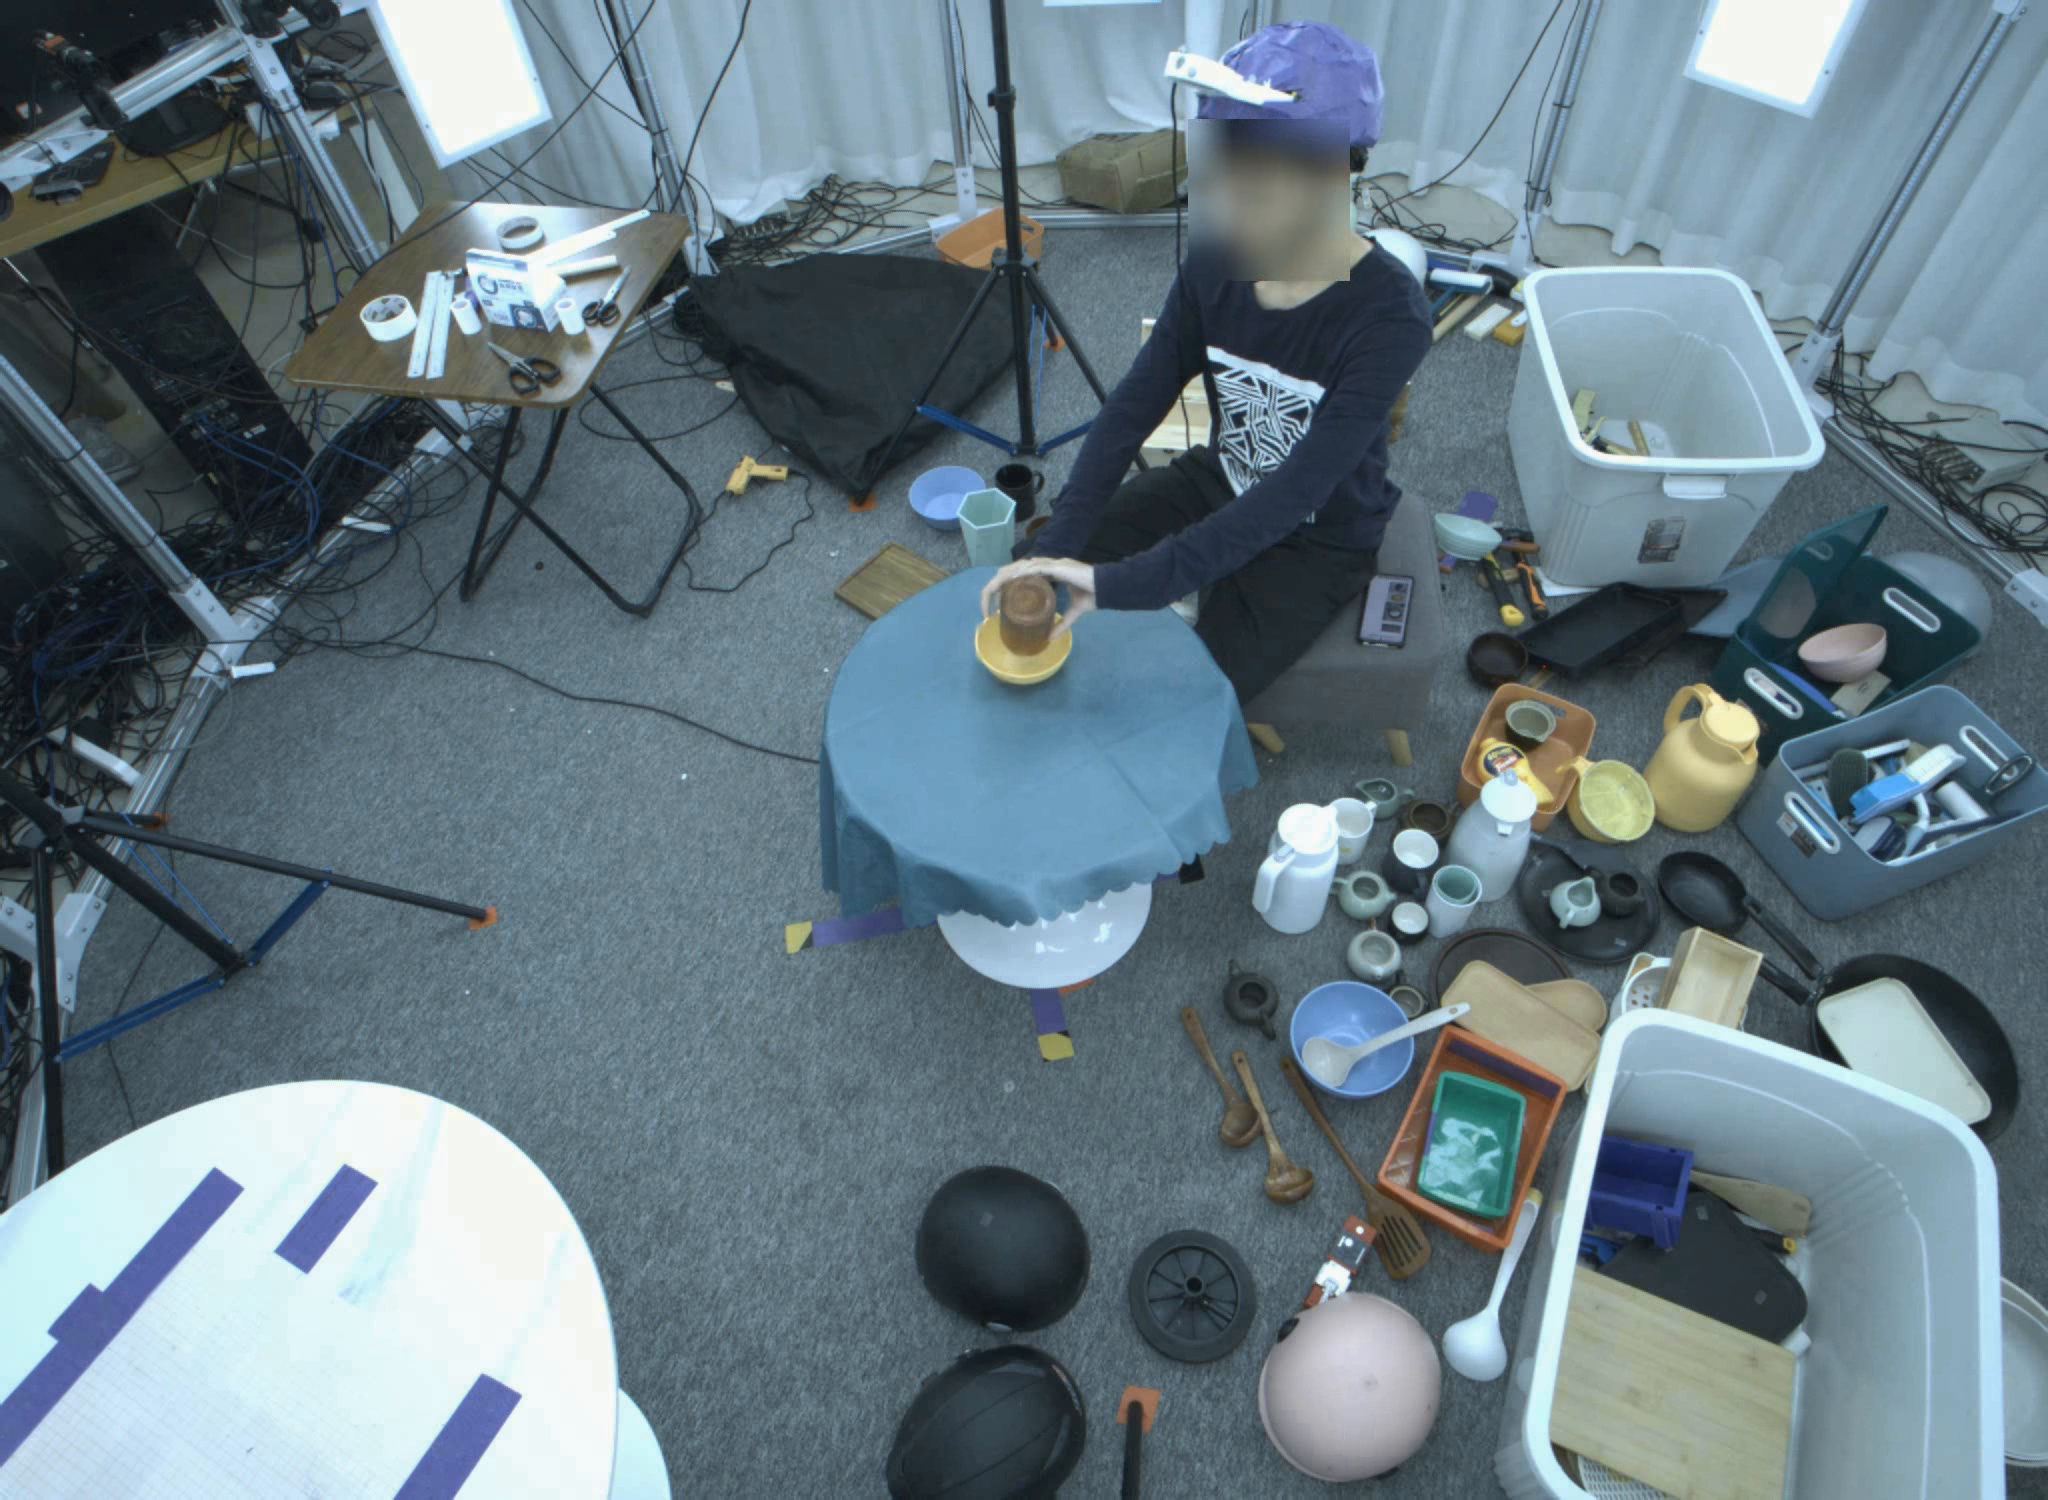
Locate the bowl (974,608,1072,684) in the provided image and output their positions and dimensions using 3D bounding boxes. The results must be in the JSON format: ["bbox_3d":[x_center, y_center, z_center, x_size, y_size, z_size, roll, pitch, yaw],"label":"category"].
[{"bbox_3d":[-0.001,-0.149,1.850,0.145,0.061,0.144,0,54,1],"label":"bowl"}]

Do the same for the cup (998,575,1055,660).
[{"bbox_3d":[0.004,-0.189,1.766,0.088,0.119,0.087,1,73,-1],"label":"cup"}]
